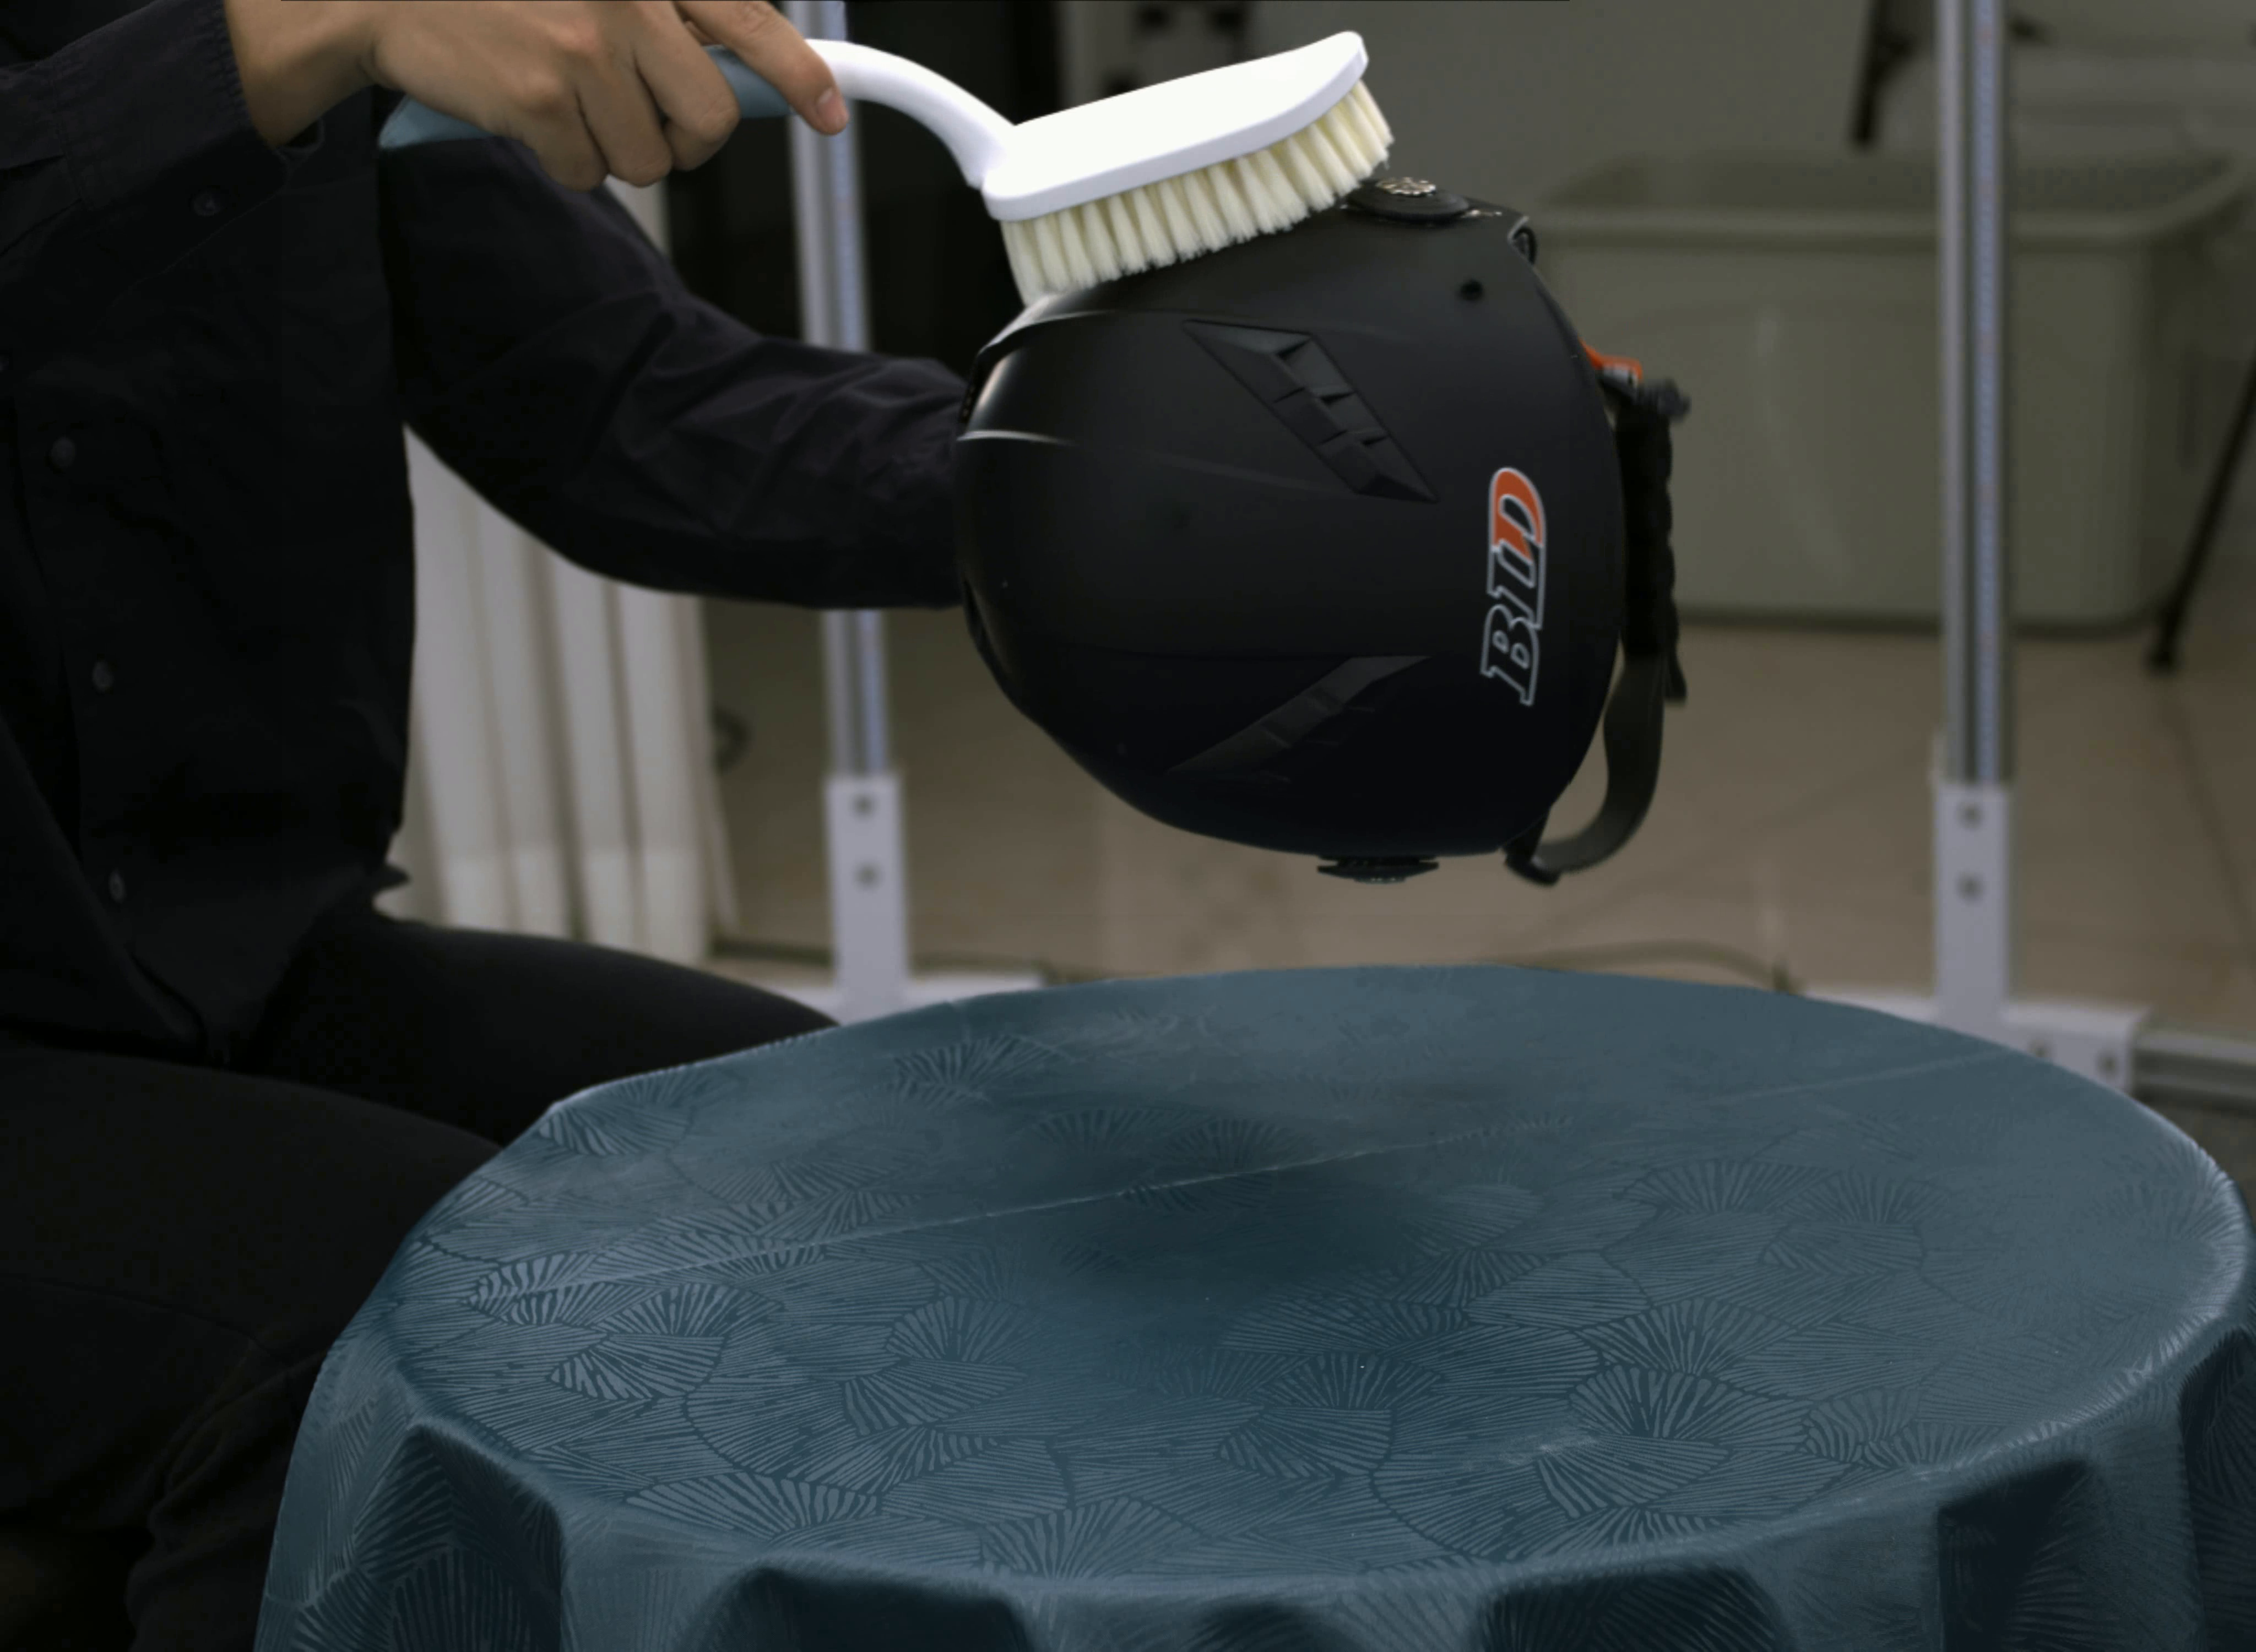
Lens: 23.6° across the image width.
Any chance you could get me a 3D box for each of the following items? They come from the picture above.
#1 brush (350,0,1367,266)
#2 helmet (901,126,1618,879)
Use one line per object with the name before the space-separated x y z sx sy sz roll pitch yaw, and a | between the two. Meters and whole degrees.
brush | -0.084 -0.211 1.722 0.322 0.086 0.083 -4 -12 4
helmet | 0.033 -0.102 1.740 0.168 0.250 0.279 -4 12 -26
